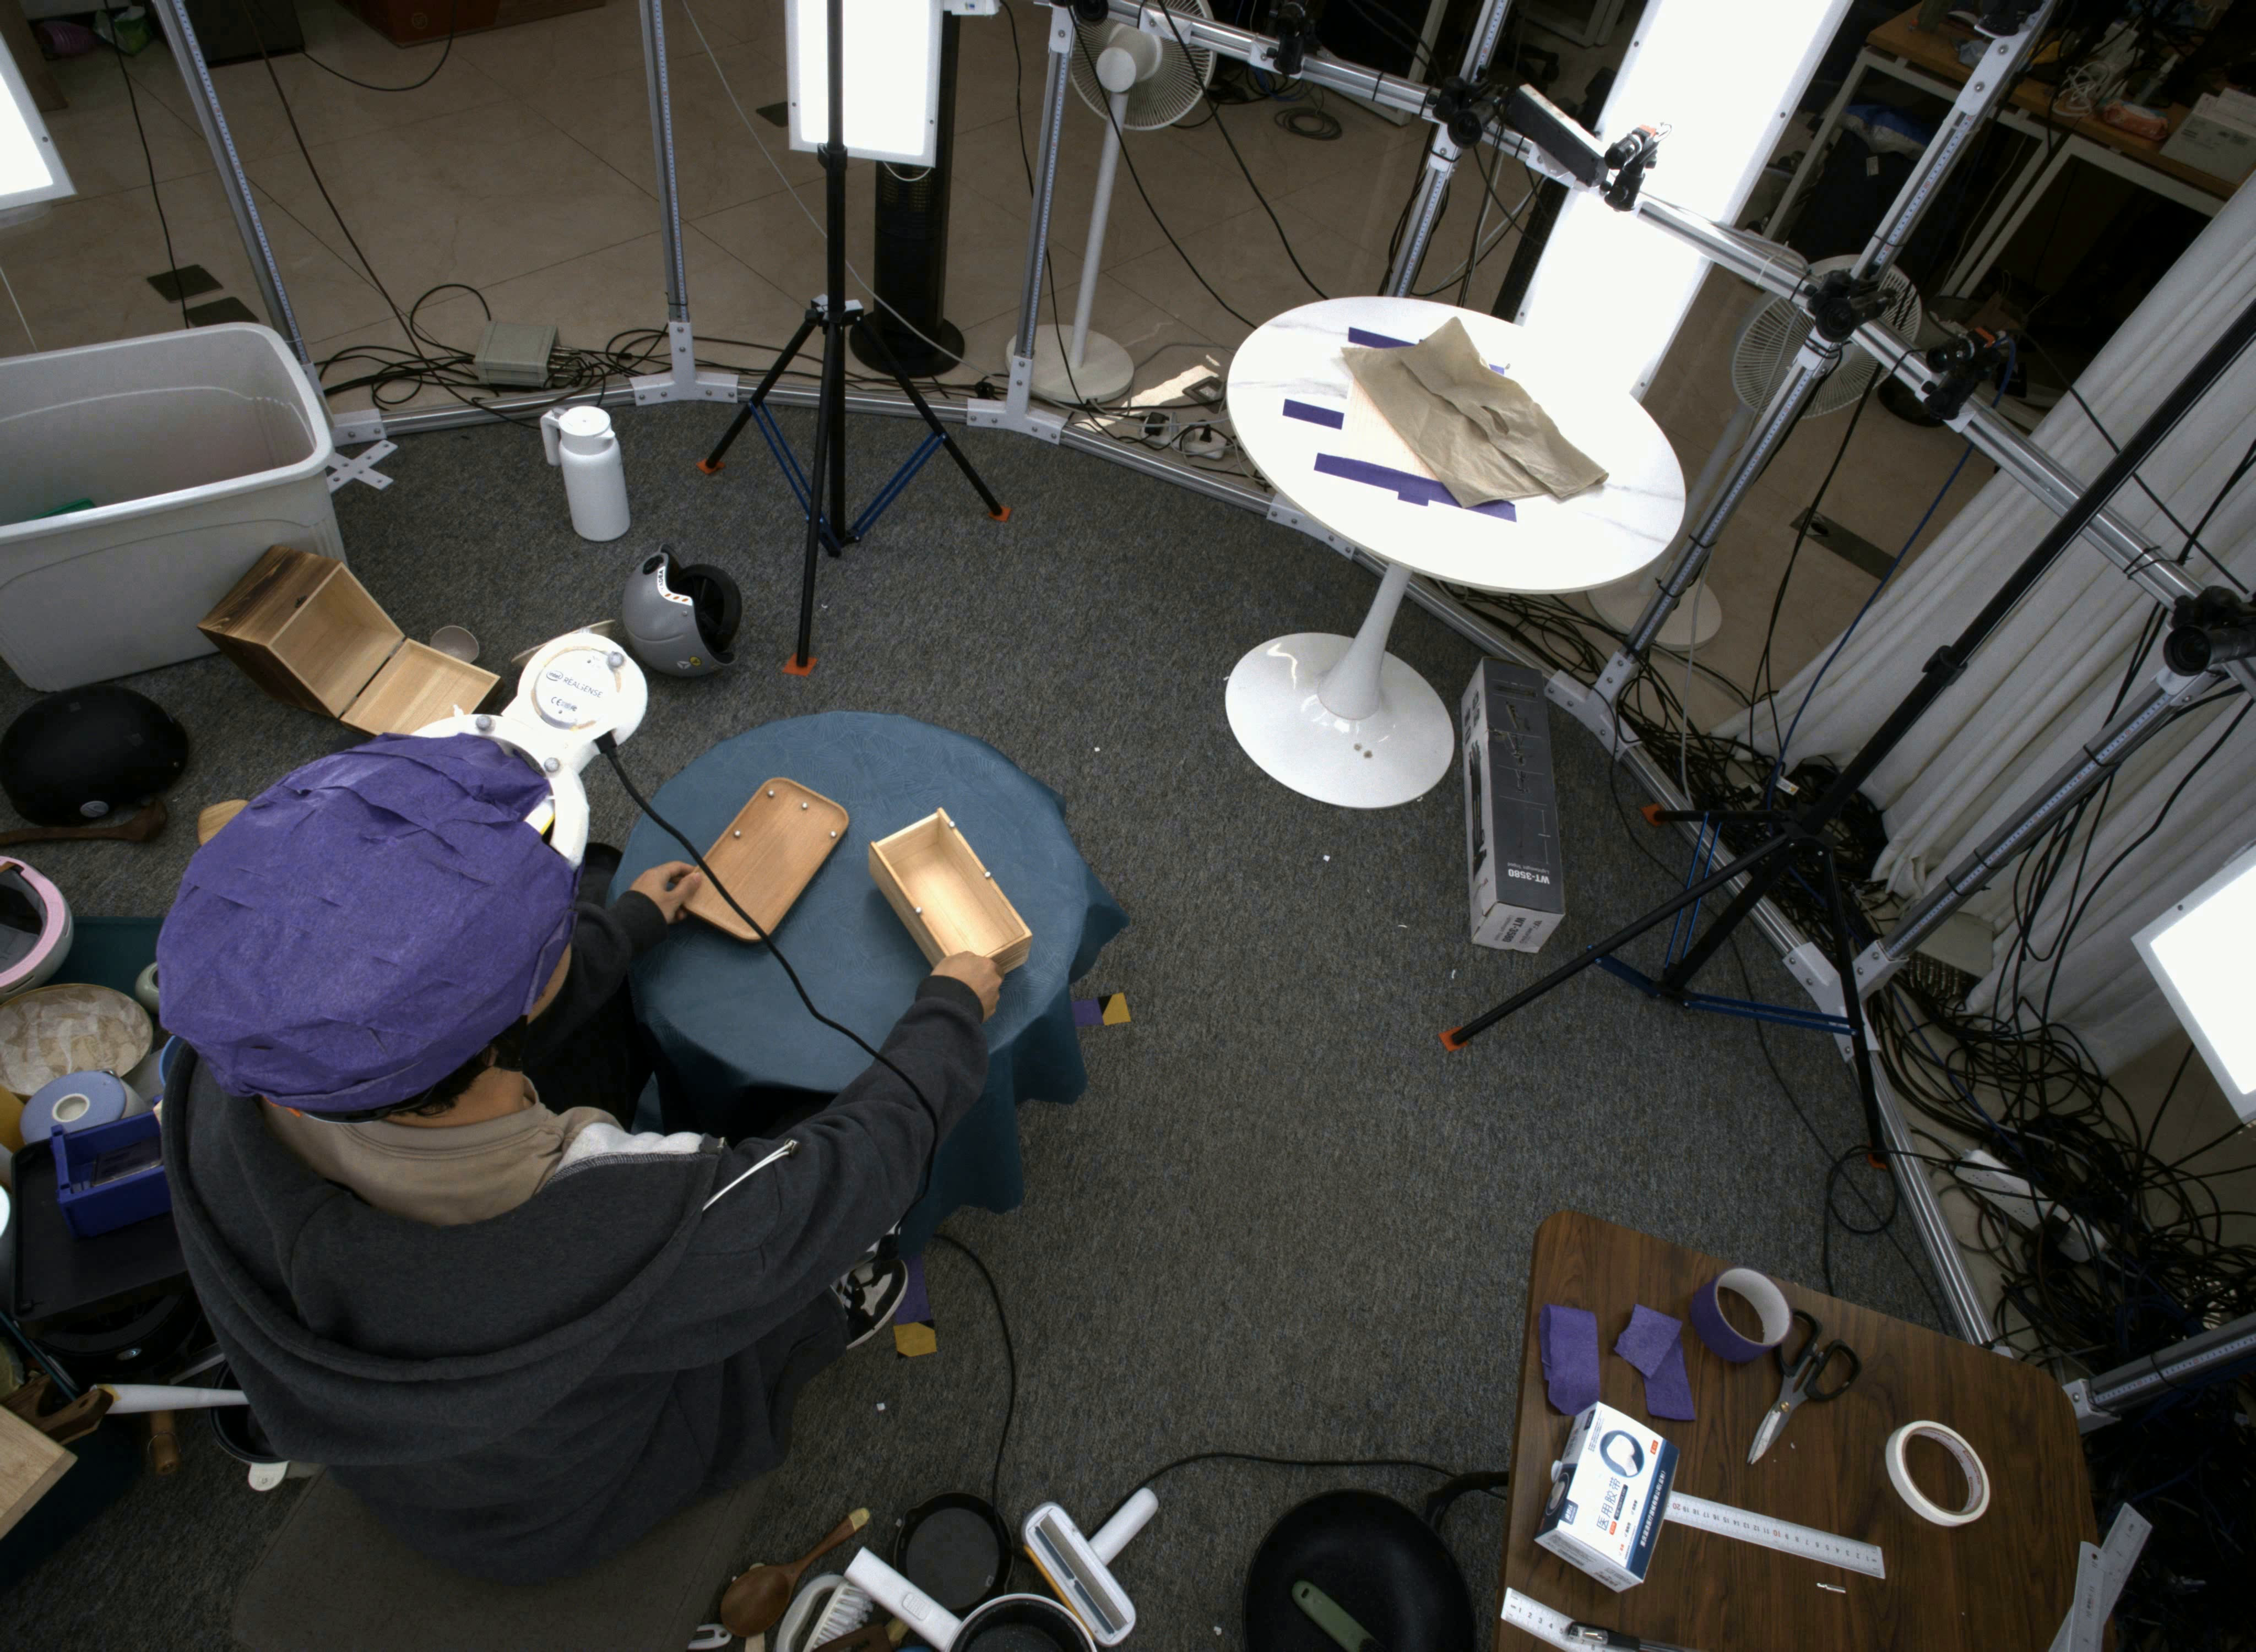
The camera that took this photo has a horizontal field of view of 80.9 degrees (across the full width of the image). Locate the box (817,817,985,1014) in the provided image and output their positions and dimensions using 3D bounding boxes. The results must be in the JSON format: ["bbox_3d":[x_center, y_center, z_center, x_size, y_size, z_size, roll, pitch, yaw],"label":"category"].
[{"bbox_3d":[-0.281,0.108,1.610,0.108,0.081,0.208,-33,73,-26],"label":"box"}]

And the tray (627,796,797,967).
[{"bbox_3d":[-0.522,0.065,1.626,0.130,0.023,0.248,24,48,-2],"label":"tray"}]
